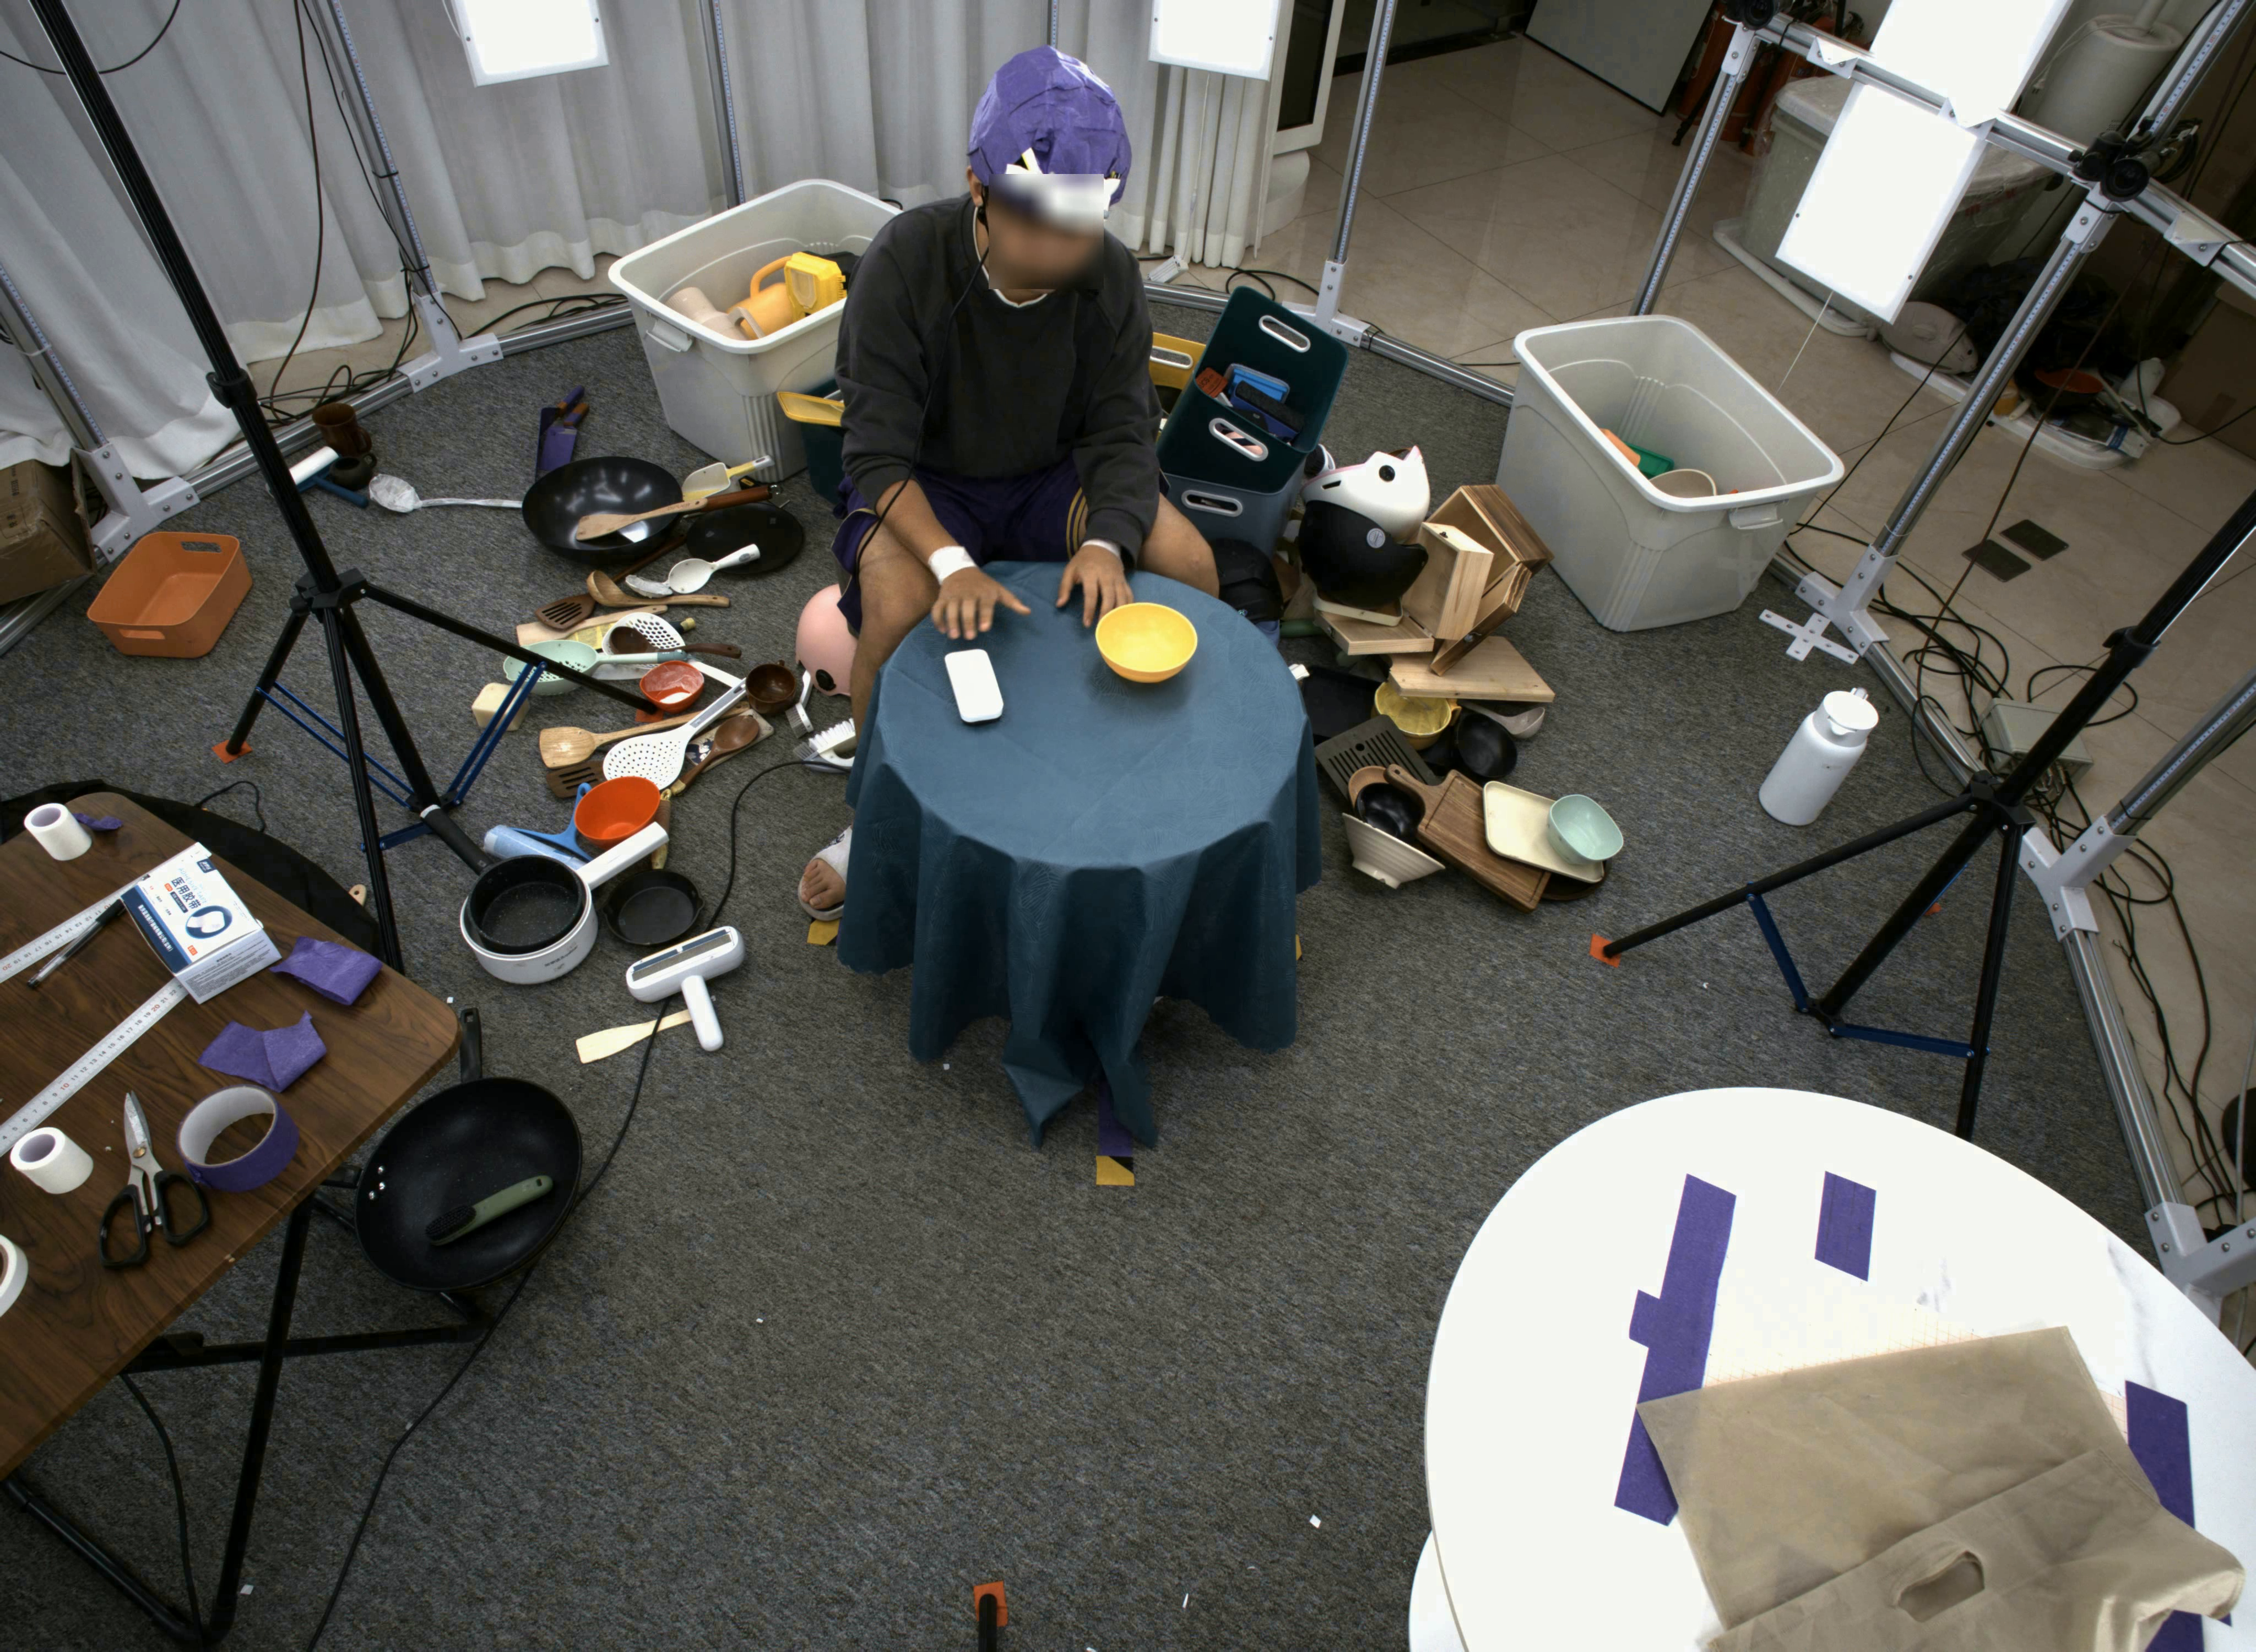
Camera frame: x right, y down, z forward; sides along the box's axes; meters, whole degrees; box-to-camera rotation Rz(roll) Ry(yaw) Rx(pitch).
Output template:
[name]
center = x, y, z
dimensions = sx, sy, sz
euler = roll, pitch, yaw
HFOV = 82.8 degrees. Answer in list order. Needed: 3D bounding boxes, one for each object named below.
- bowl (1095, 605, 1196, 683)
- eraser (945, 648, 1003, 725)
[bowl]
center = 0.023, -0.251, 1.851
dimensions = 0.145, 0.058, 0.149
euler = 2, 47, -3
[eraser]
center = -0.215, -0.199, 1.804
dimensions = 0.063, 0.034, 0.134
euler = -9, 51, -13
